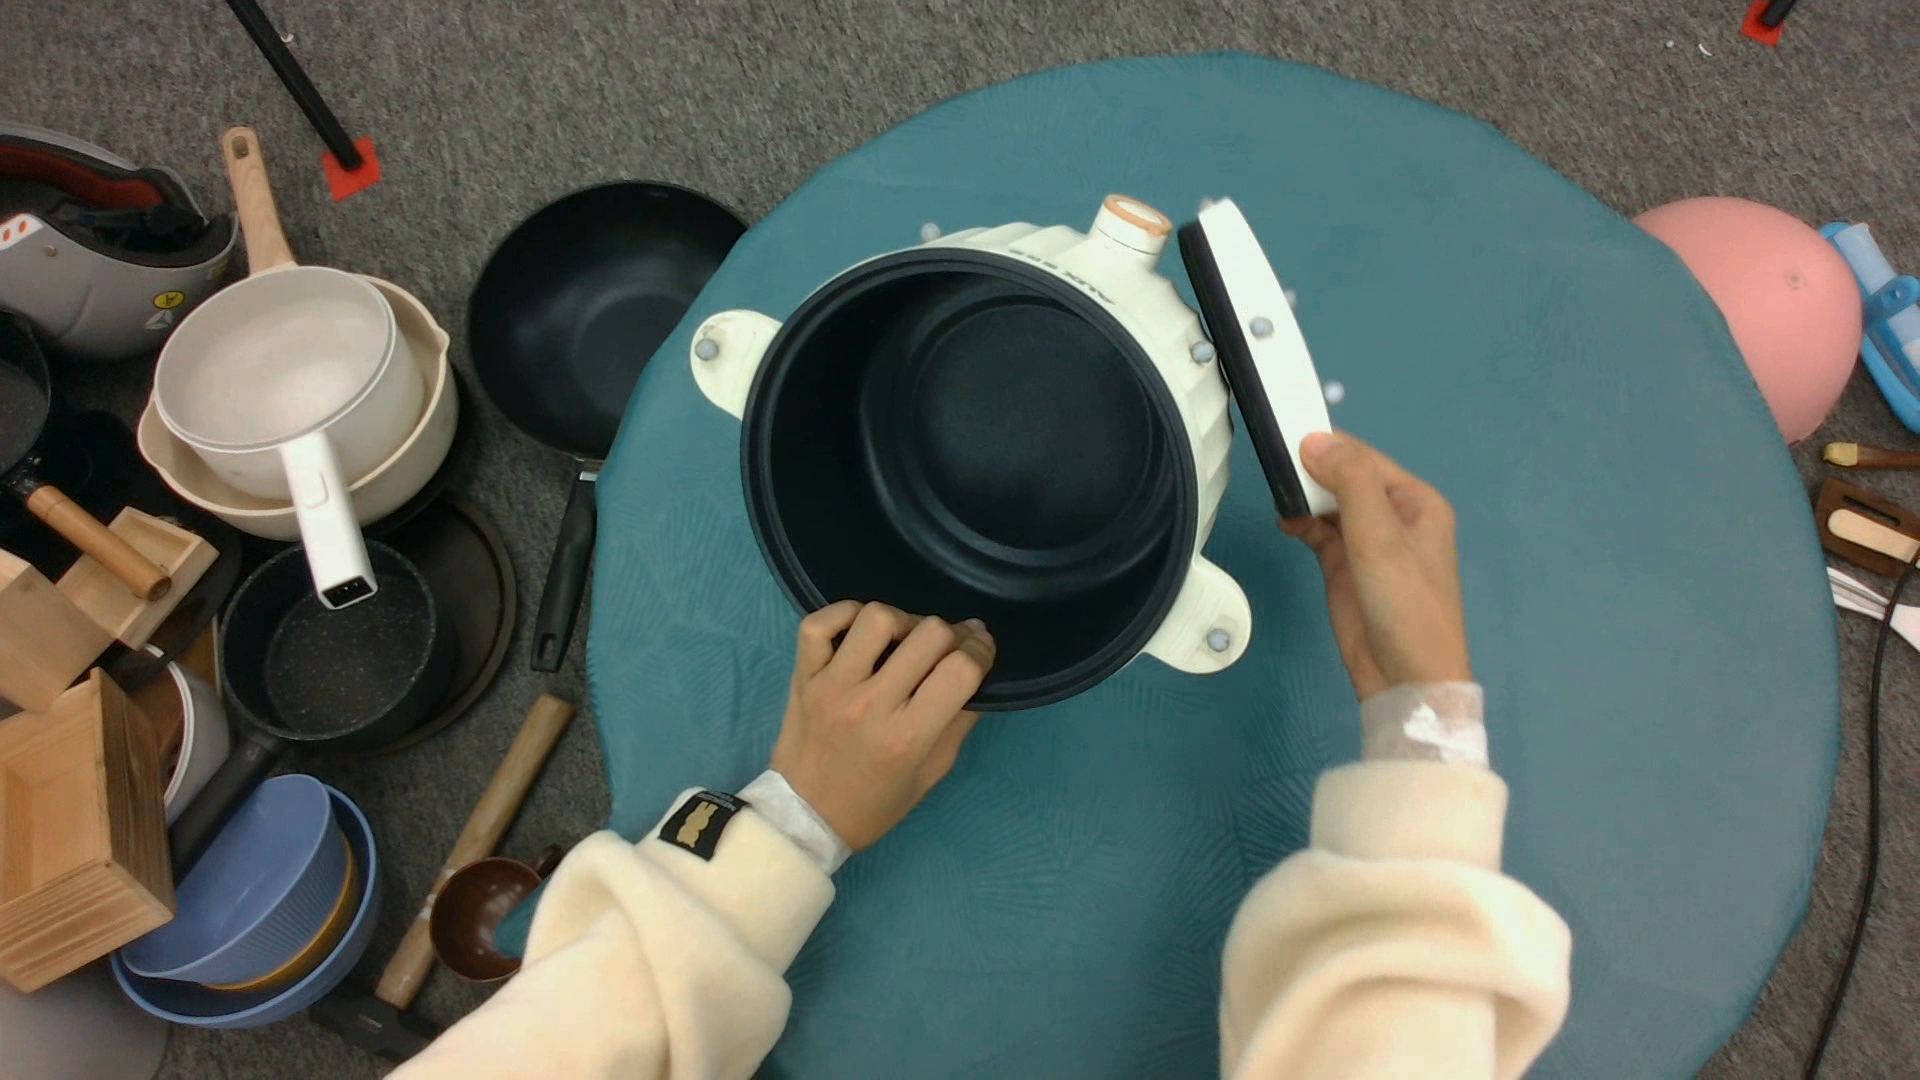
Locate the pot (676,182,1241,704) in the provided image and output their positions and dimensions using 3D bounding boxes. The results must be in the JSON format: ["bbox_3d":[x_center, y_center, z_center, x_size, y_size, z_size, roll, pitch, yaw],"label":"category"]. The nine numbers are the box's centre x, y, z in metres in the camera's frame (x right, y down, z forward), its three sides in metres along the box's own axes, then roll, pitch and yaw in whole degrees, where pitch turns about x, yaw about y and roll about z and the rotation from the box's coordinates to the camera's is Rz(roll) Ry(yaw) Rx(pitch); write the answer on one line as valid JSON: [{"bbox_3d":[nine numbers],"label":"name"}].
[{"bbox_3d":[0.017,-0.048,0.568,0.240,0.189,0.143,28,30,7],"label":"pot"}]

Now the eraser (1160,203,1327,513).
[{"bbox_3d":[0.122,-0.075,0.572,0.034,0.063,0.131,-22,86,12],"label":"eraser"}]
